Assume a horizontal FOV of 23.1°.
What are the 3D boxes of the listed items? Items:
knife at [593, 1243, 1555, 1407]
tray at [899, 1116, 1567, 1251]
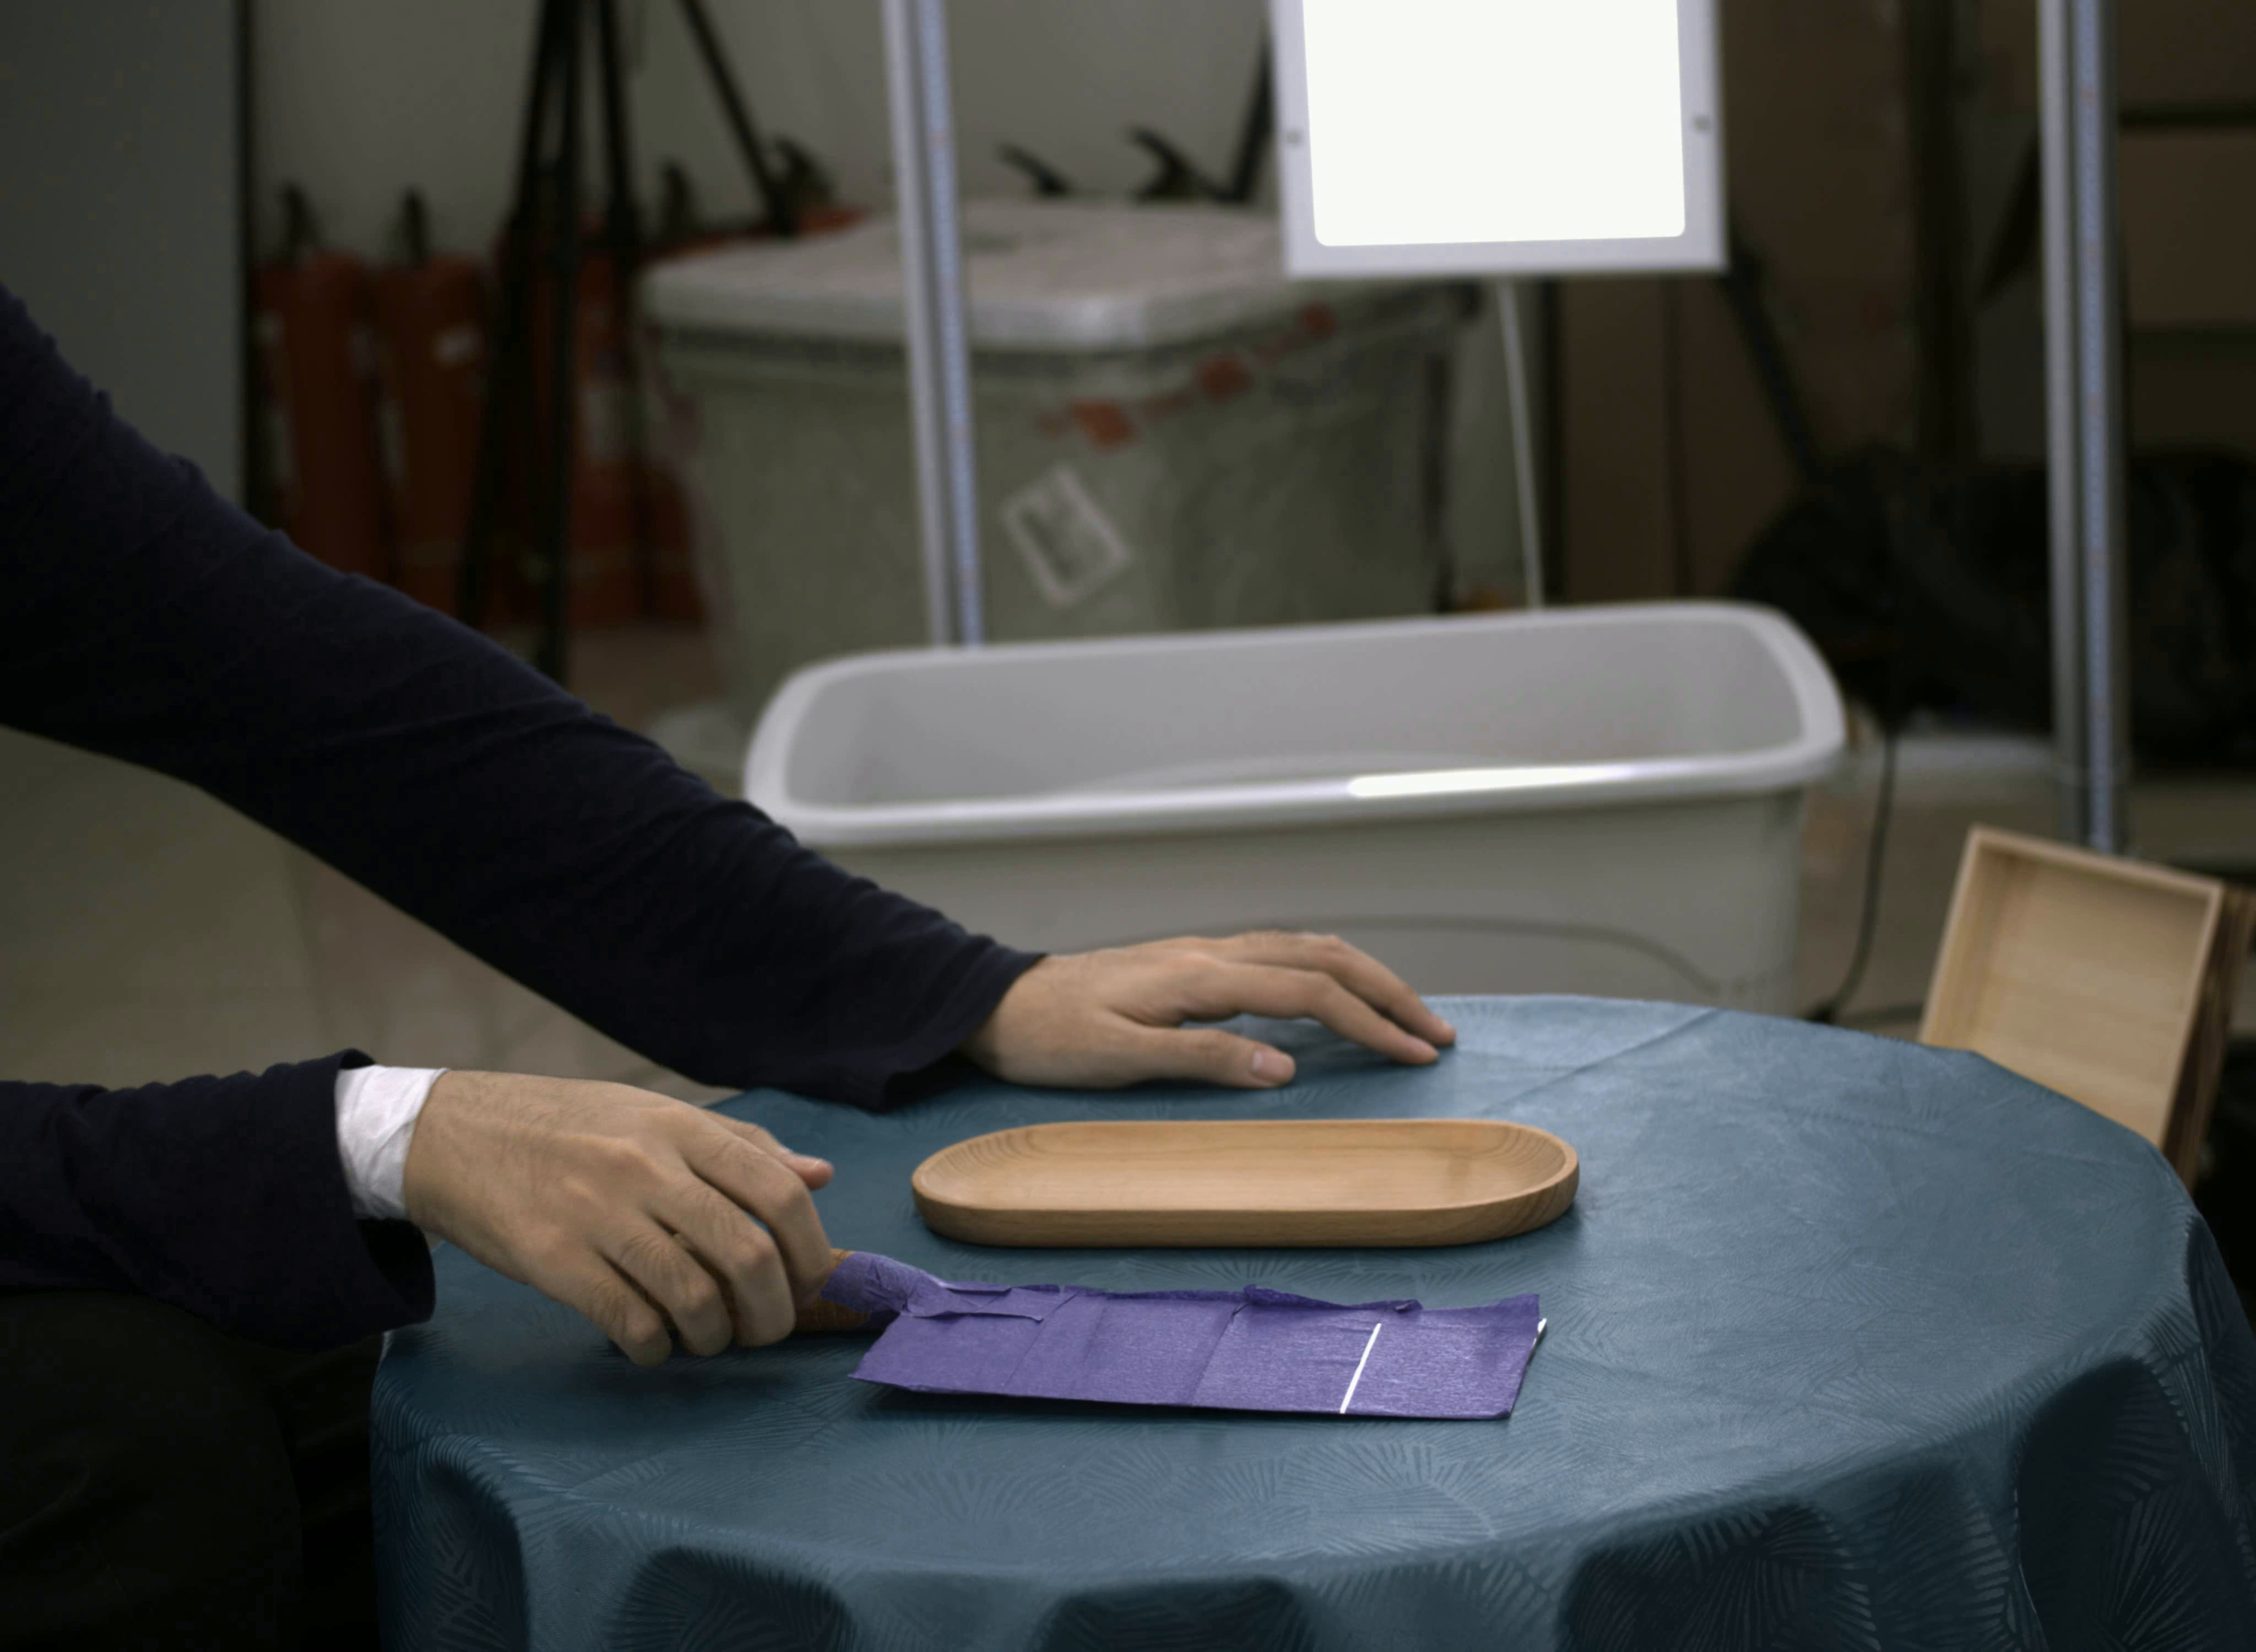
[{"bbox_3d":[-0.026,0.157,1.730,0.318,0.032,0.102,-1,14,16],"label":"knife"},{"bbox_3d":[0.036,0.122,1.874,0.233,0.020,0.100,-4,13,15],"label":"tray"}]
